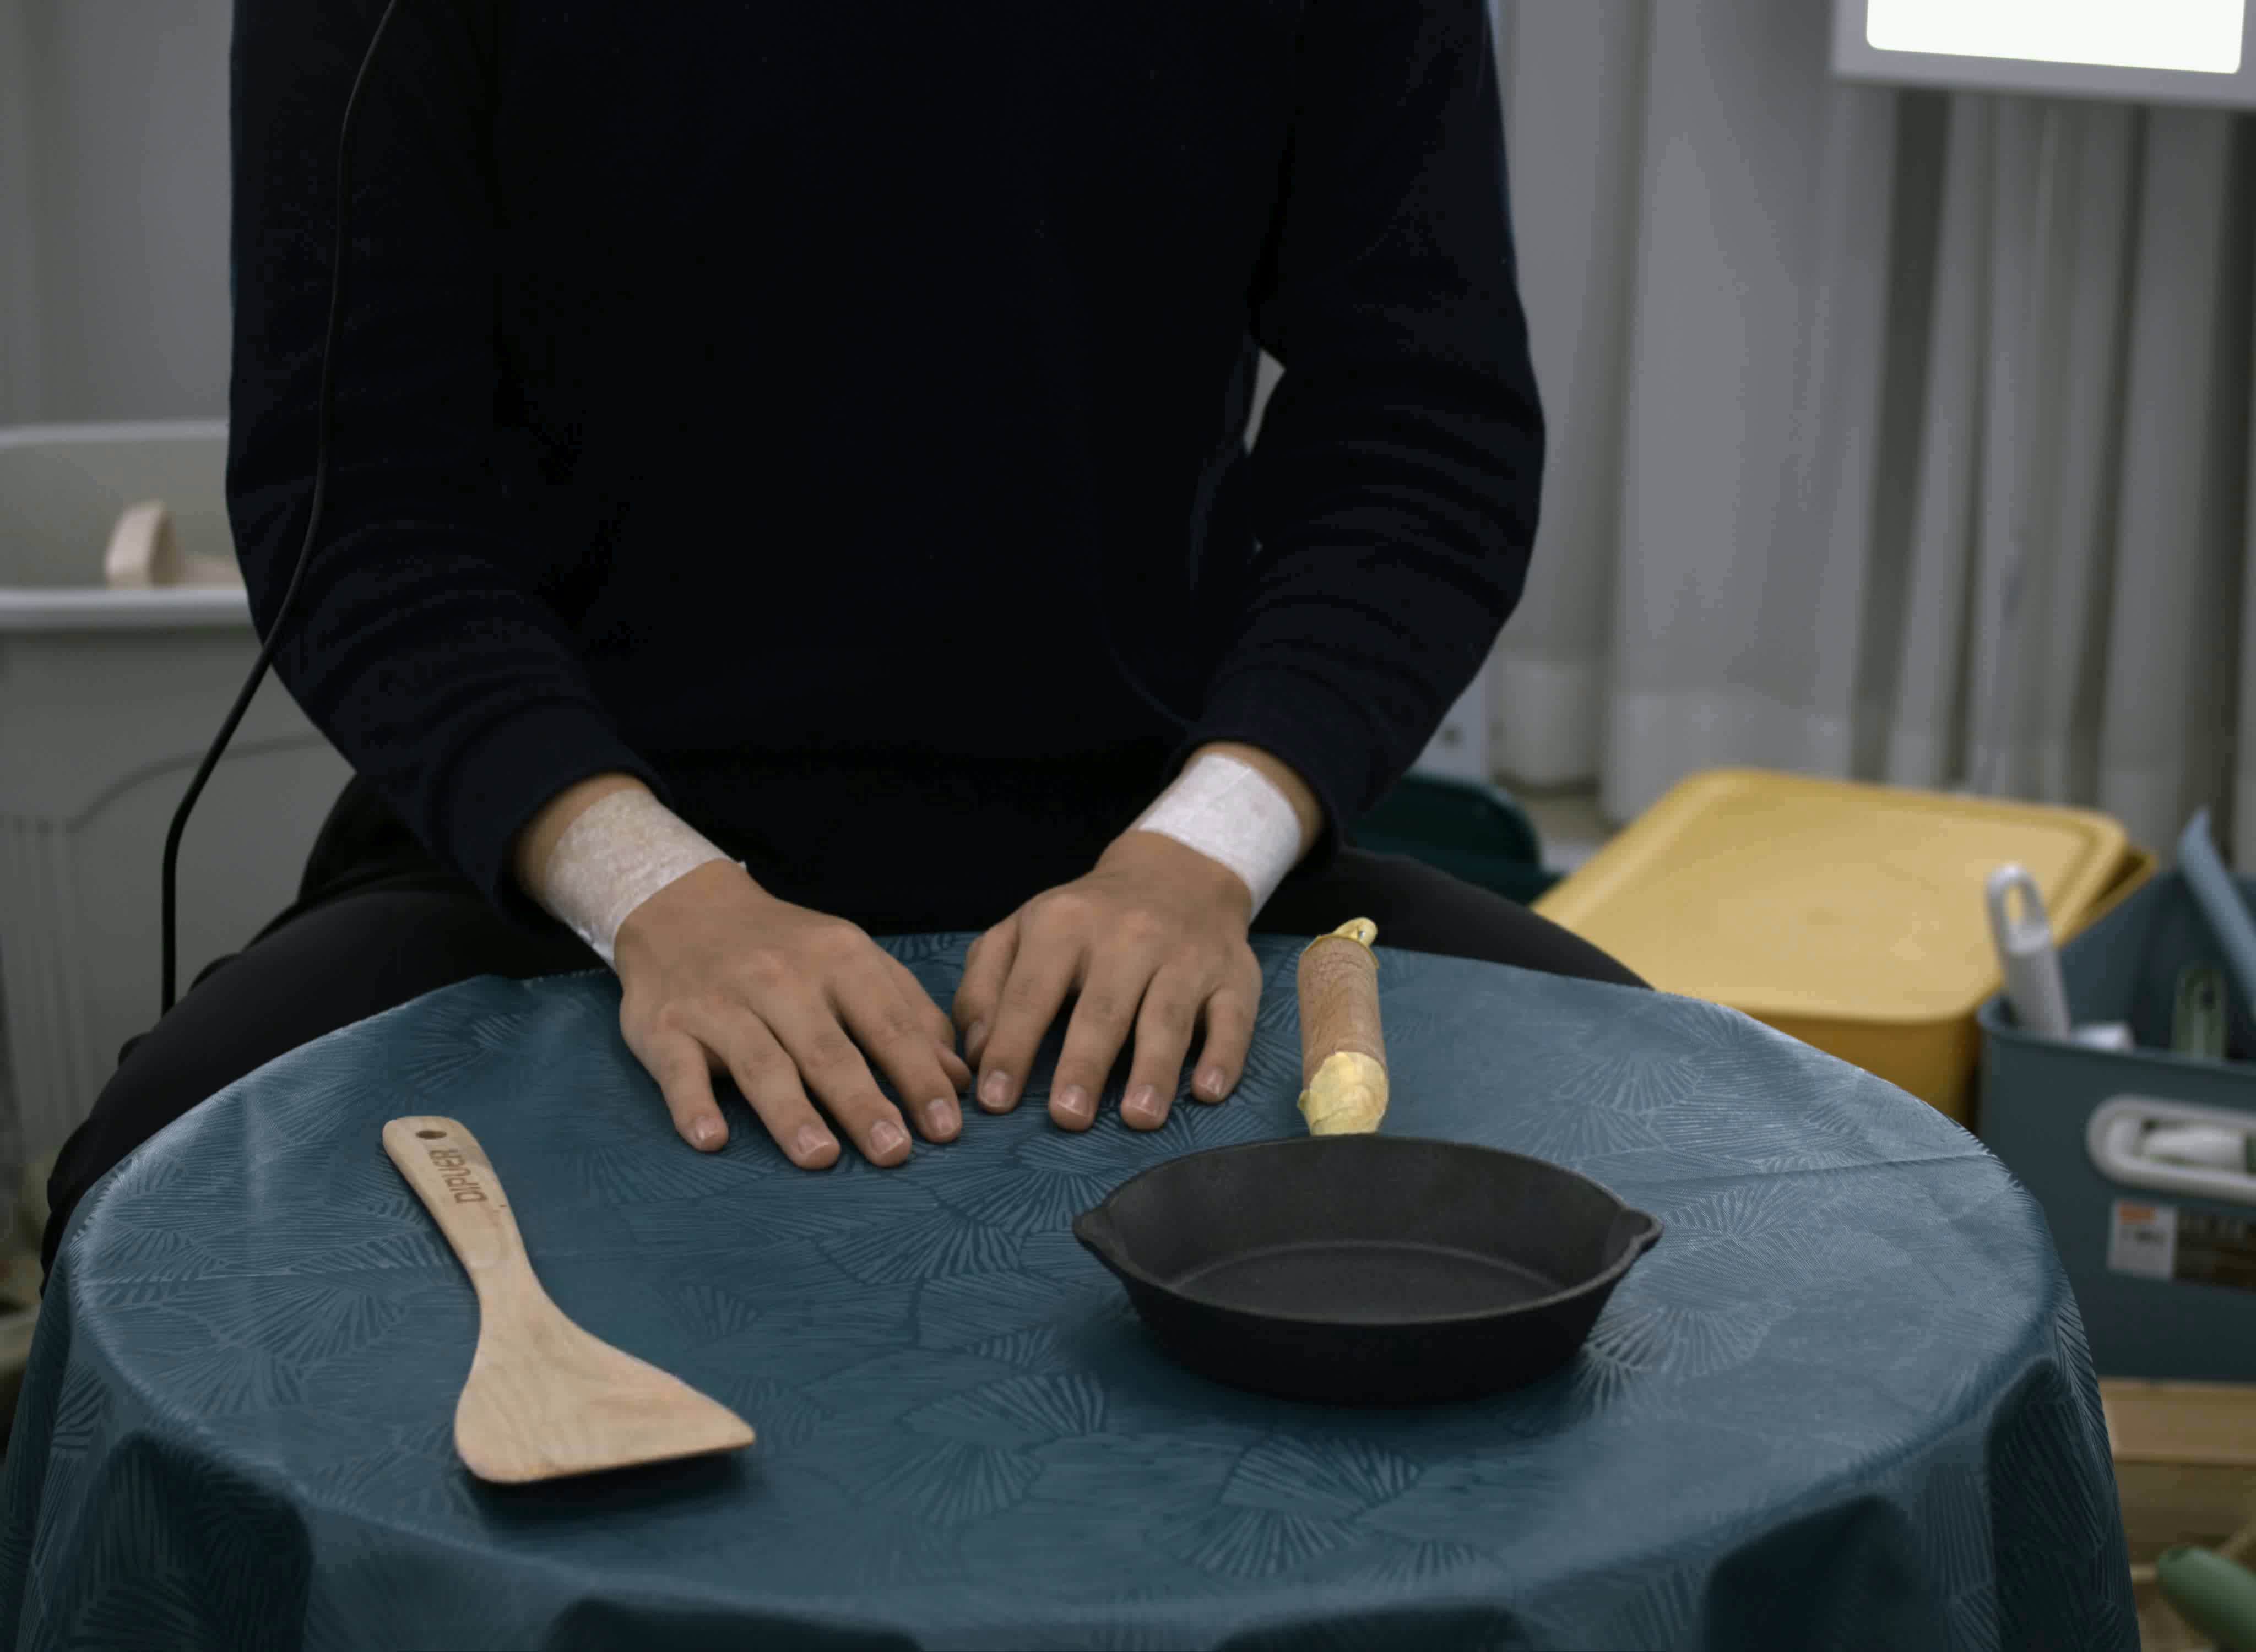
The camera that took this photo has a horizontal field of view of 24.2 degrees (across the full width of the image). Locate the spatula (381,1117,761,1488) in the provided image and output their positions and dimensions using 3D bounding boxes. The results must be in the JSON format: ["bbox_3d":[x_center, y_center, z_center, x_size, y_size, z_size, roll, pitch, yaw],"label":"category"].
[{"bbox_3d":[-0.177,0.132,1.516,0.080,0.016,0.324,-4,16,-17],"label":"spatula"}]

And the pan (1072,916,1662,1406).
[{"bbox_3d":[0.070,0.097,1.586,0.168,0.050,0.322,1,17,1],"label":"pan"}]
